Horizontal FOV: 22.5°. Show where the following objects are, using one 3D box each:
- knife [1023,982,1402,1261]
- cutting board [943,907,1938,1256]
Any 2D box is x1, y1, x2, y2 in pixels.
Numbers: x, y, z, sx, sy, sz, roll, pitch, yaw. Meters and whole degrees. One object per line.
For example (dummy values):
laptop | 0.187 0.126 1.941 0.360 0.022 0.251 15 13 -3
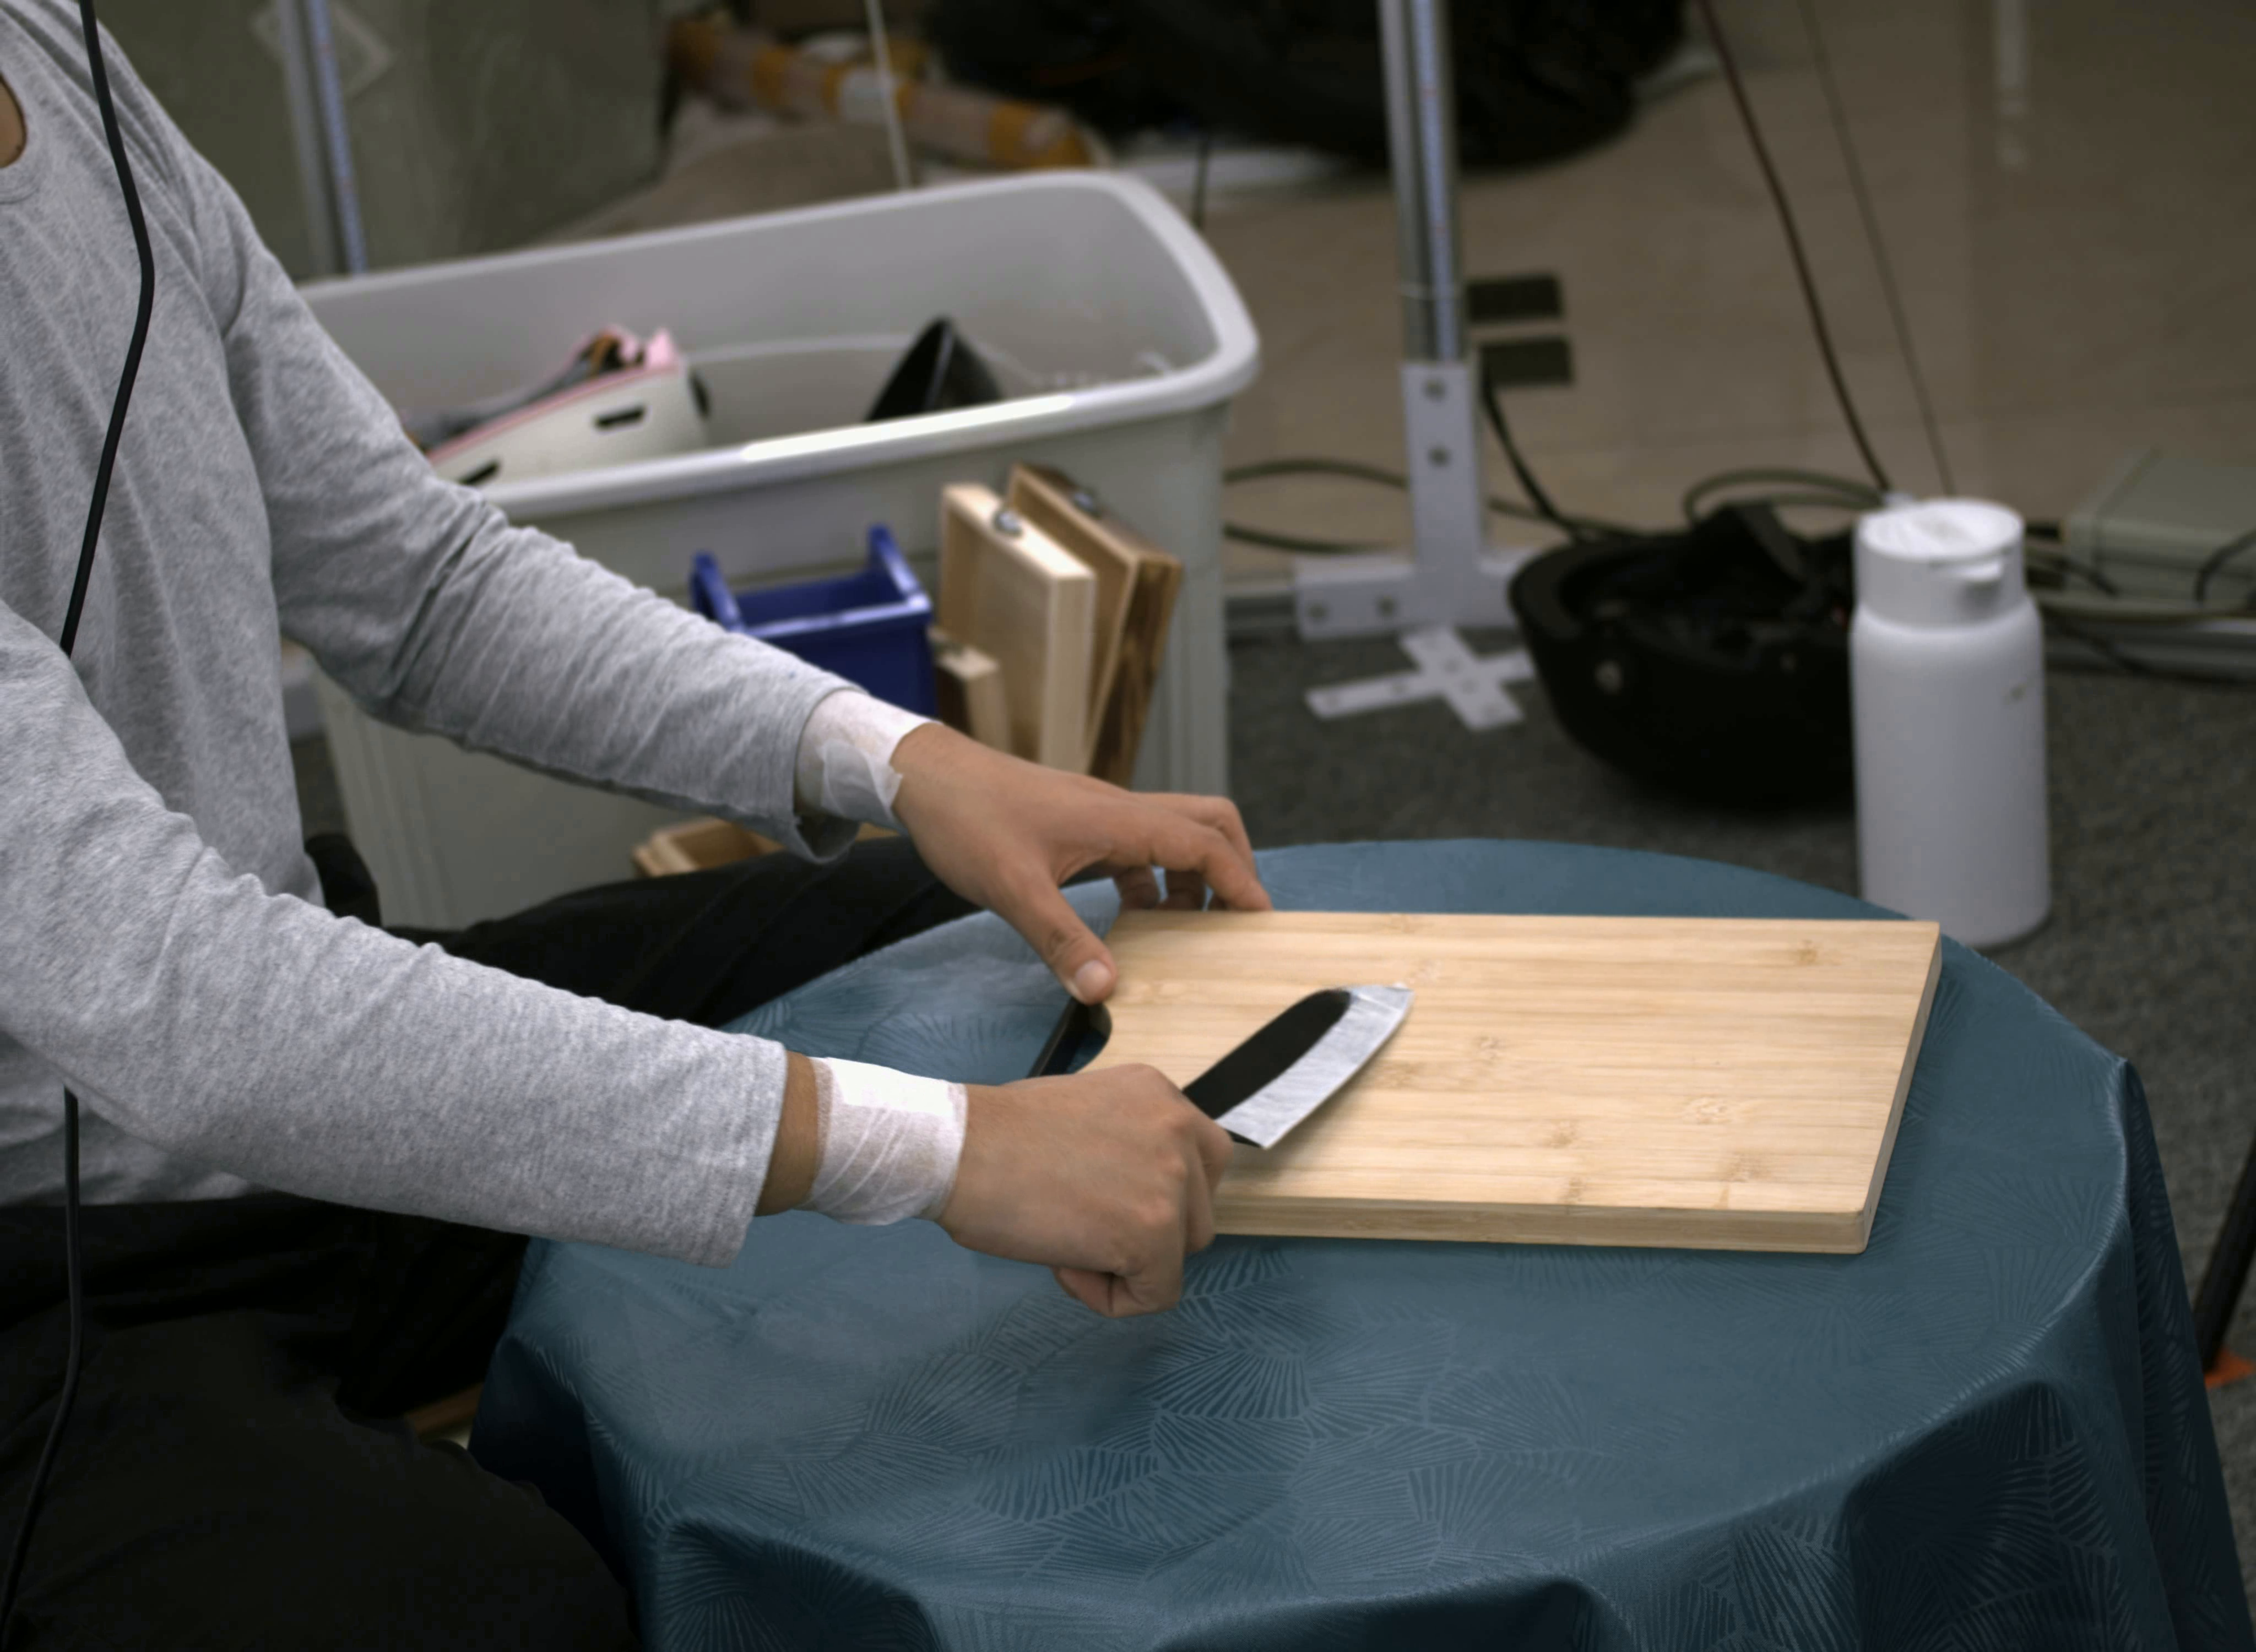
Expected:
knife | 0.036 0.104 2.123 0.050 0.020 0.286 25 27 20
cutting board | 0.126 0.095 2.197 0.348 0.024 0.247 1 25 15
